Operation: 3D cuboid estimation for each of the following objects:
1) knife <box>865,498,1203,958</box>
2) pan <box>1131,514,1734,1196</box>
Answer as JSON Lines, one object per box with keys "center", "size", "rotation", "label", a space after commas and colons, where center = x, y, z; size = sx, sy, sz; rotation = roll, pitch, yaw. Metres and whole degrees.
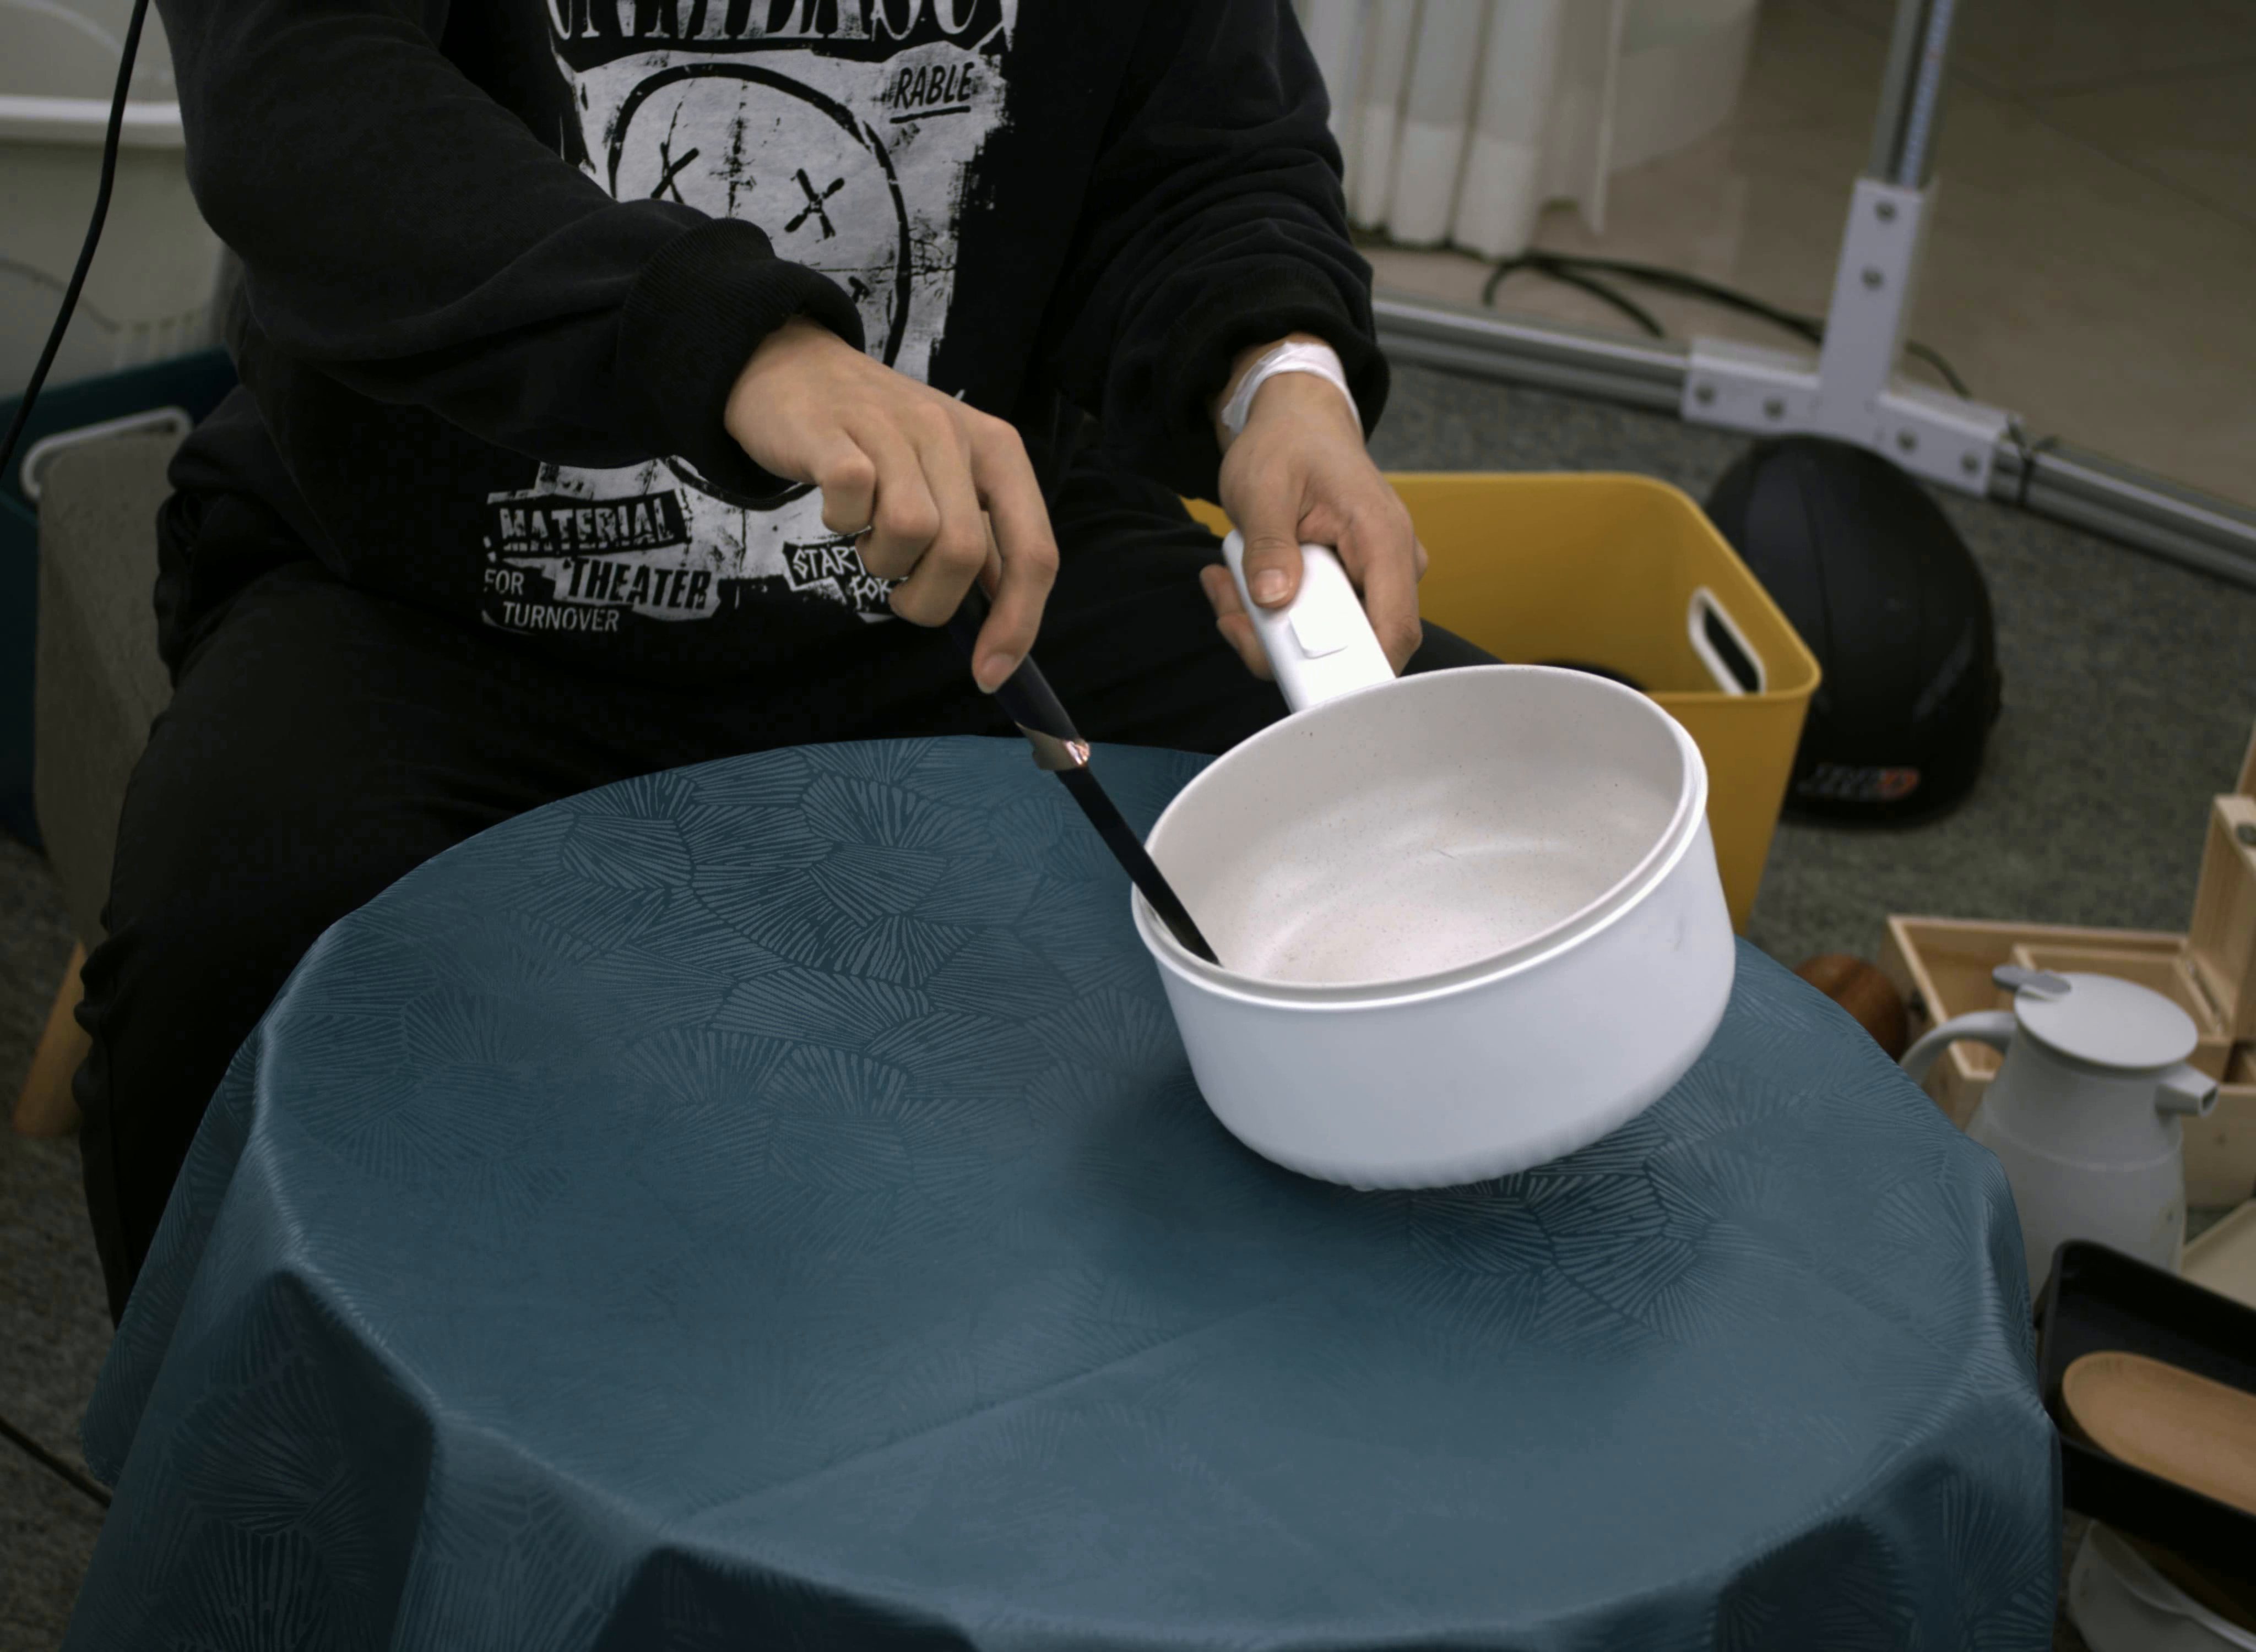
{"center": [-0.022, -0.019, 1.789], "size": [0.026, 0.224, 0.017], "rotation": [-10, 31, 51], "label": "knife"}
{"center": [0.096, 0.006, 1.906], "size": [0.201, 0.101, 0.357], "rotation": [-20, 29, 0], "label": "pan"}
